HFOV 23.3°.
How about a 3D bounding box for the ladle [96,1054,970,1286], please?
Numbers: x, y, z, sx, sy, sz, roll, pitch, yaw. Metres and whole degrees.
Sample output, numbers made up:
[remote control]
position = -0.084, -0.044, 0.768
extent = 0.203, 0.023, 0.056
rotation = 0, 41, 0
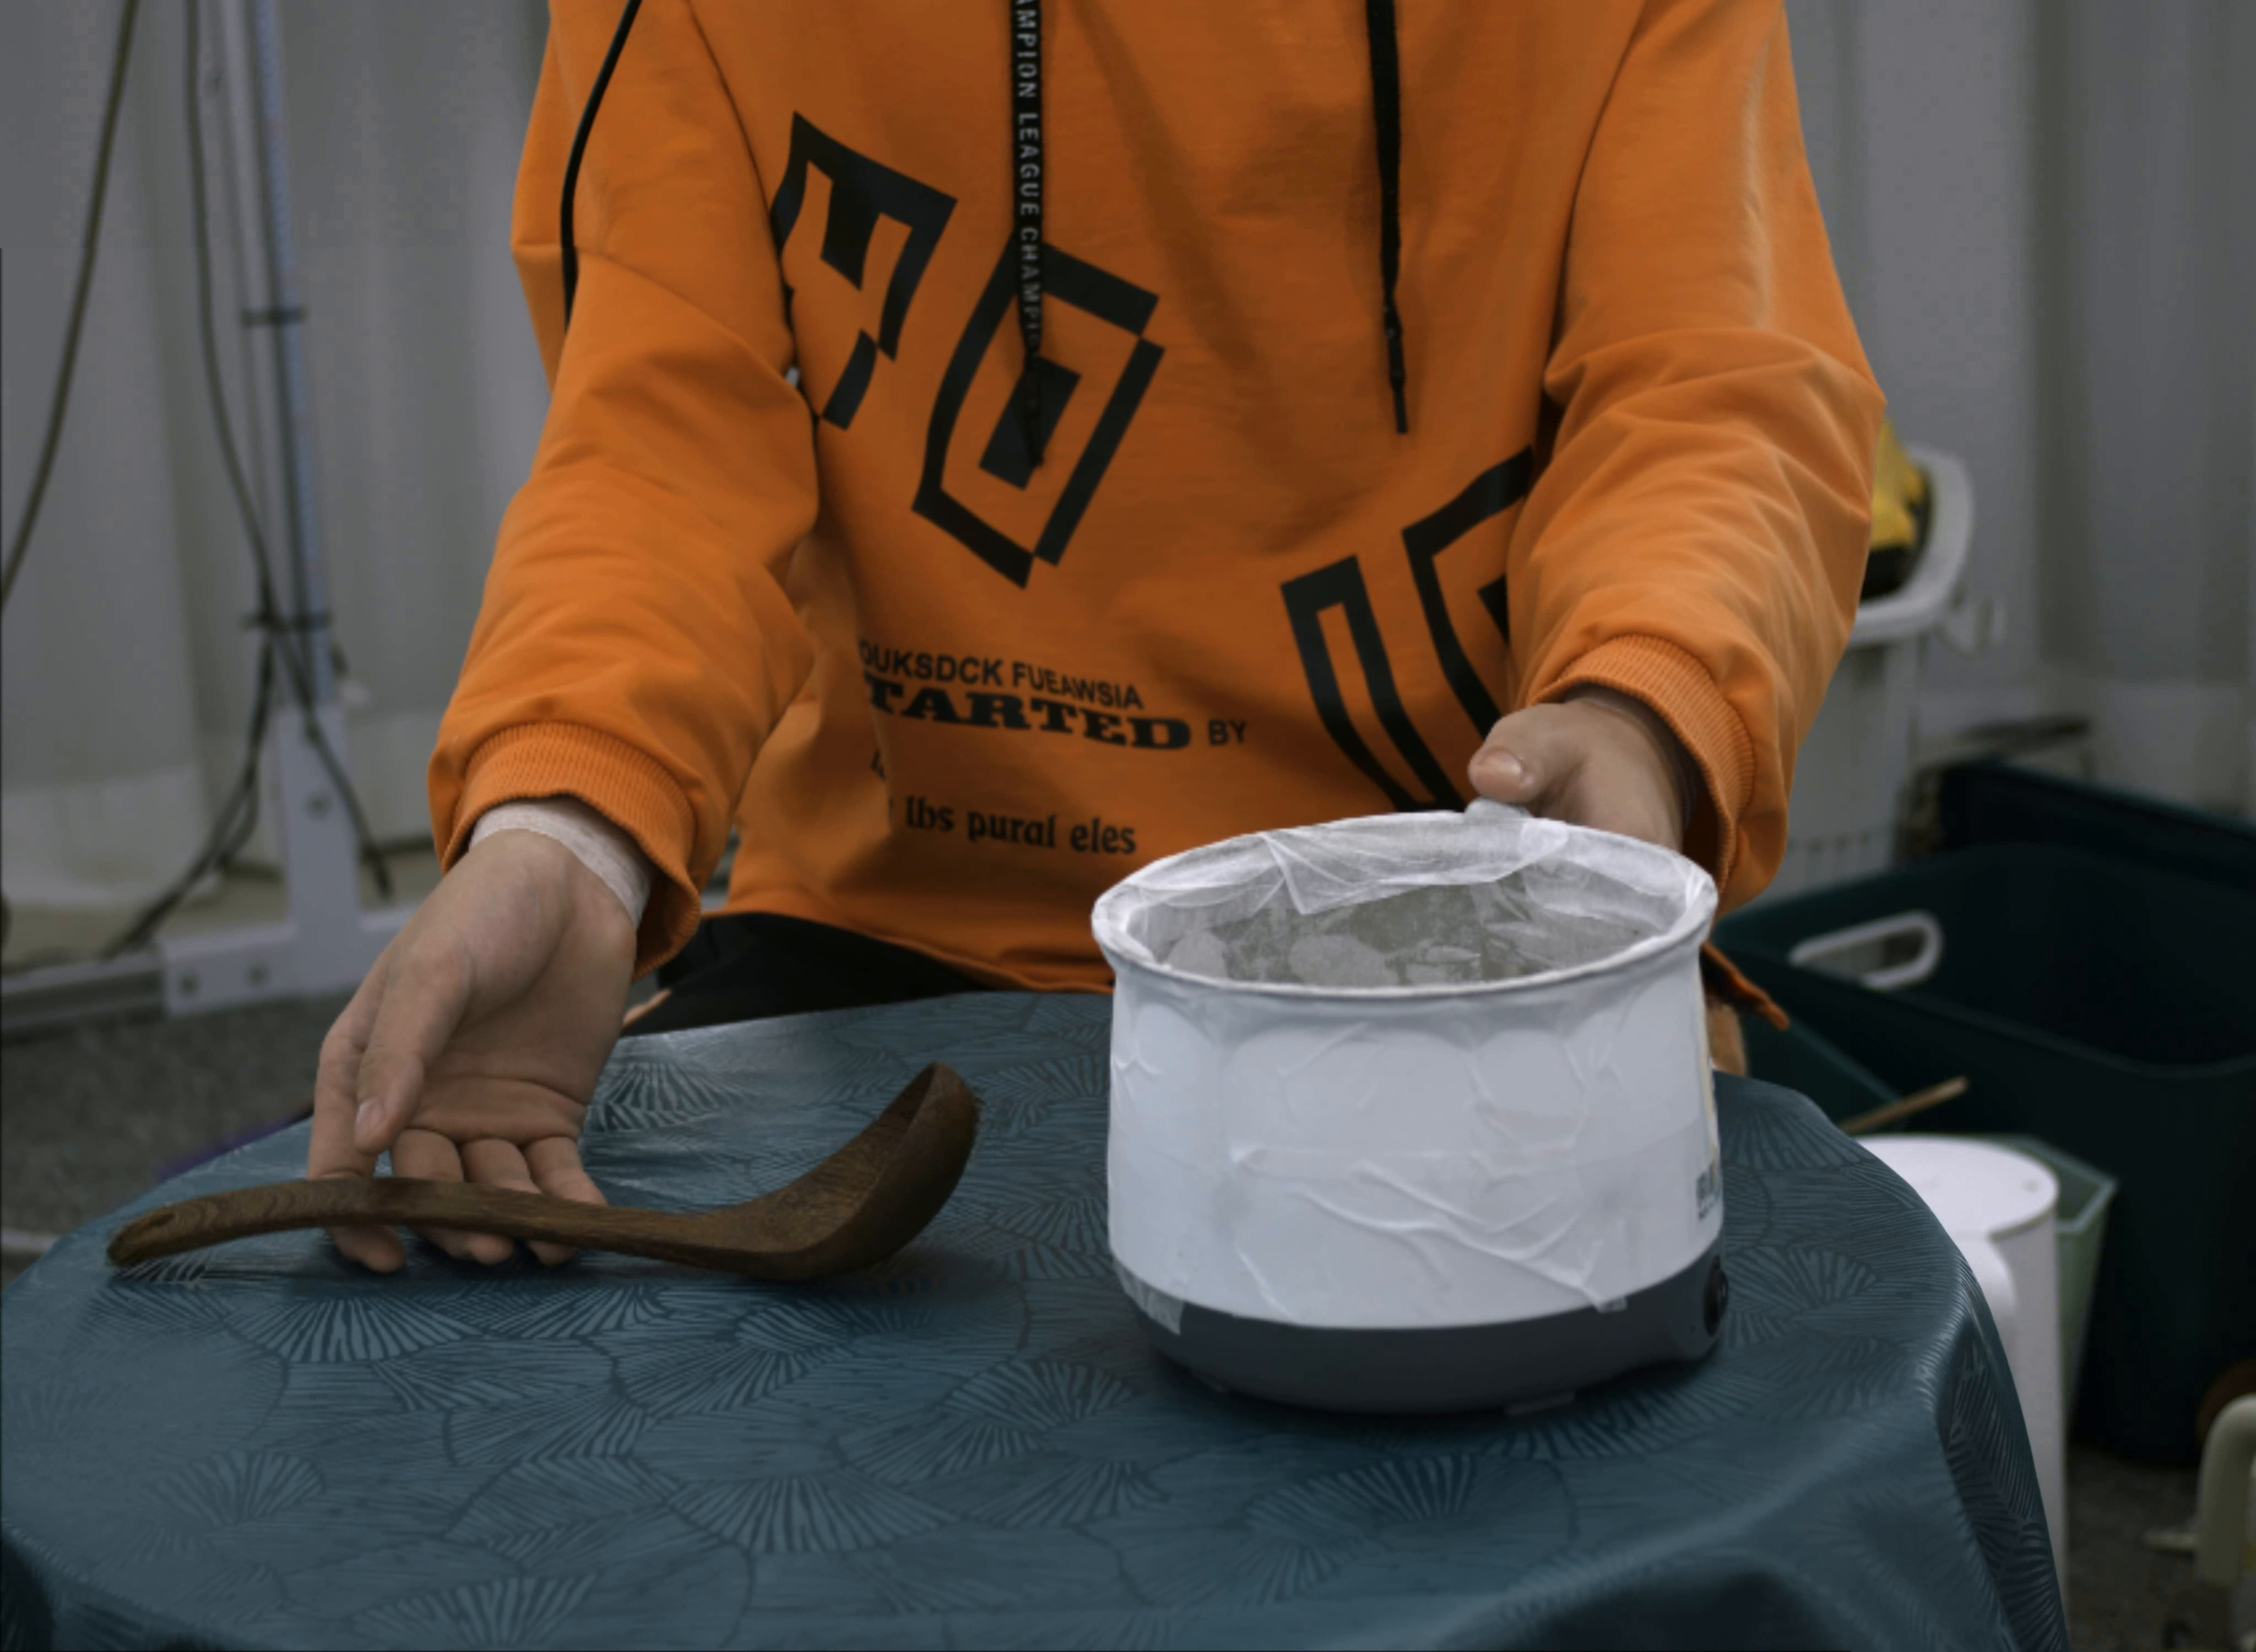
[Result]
[ladle]
position = -0.182, 0.103, 1.658
extent = 0.273, 0.071, 0.076
rotation = 1, 20, 9

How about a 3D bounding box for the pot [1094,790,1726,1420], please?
[pot]
position = 0.089, 0.074, 1.584
extent = 0.178, 0.136, 0.234
rotation = 2, 16, 17
